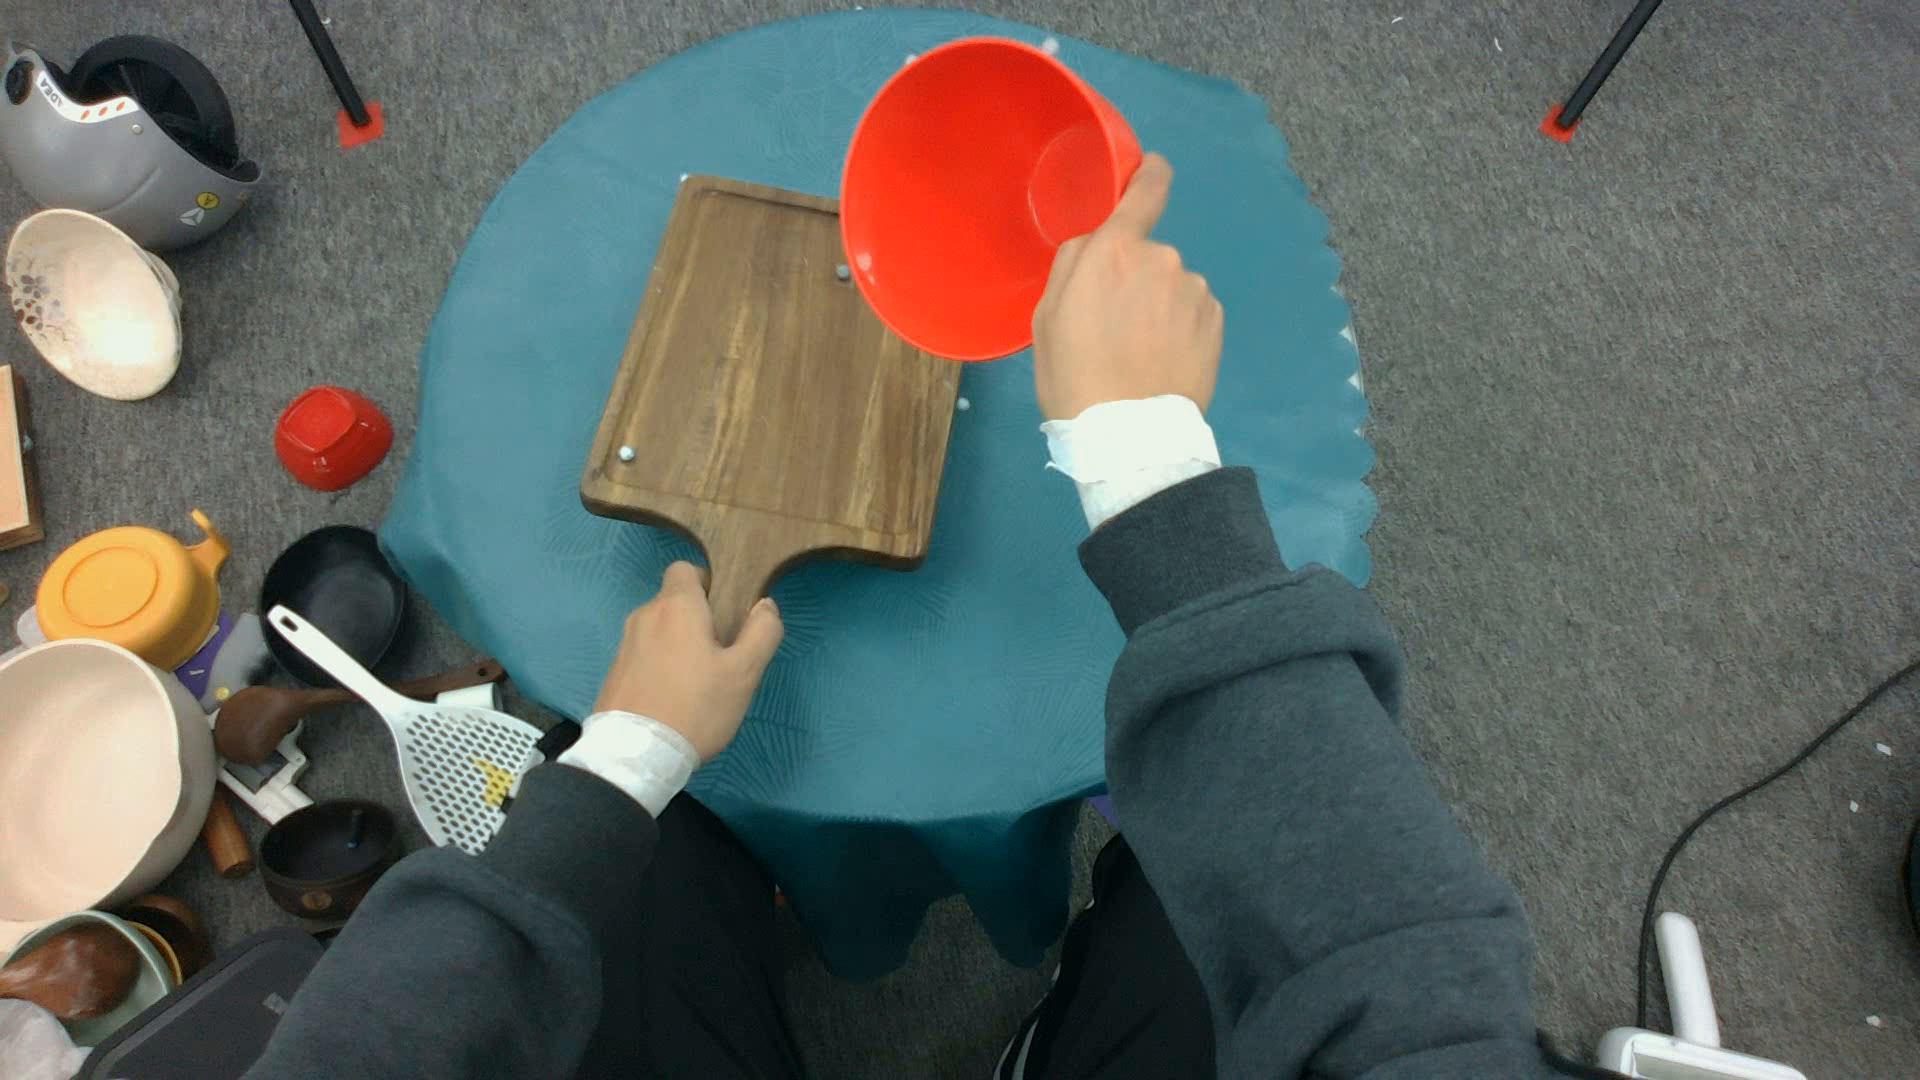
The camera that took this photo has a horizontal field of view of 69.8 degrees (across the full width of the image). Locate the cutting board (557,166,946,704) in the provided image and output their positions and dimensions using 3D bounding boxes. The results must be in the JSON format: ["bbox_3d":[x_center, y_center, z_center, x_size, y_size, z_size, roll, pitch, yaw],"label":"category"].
[{"bbox_3d":[-0.117,-0.071,0.797,0.201,0.023,0.353,10,60,-2],"label":"cutting board"}]

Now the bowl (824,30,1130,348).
[{"bbox_3d":[0.021,-0.174,0.687,0.148,0.147,0.105,48,36,17],"label":"bowl"}]
